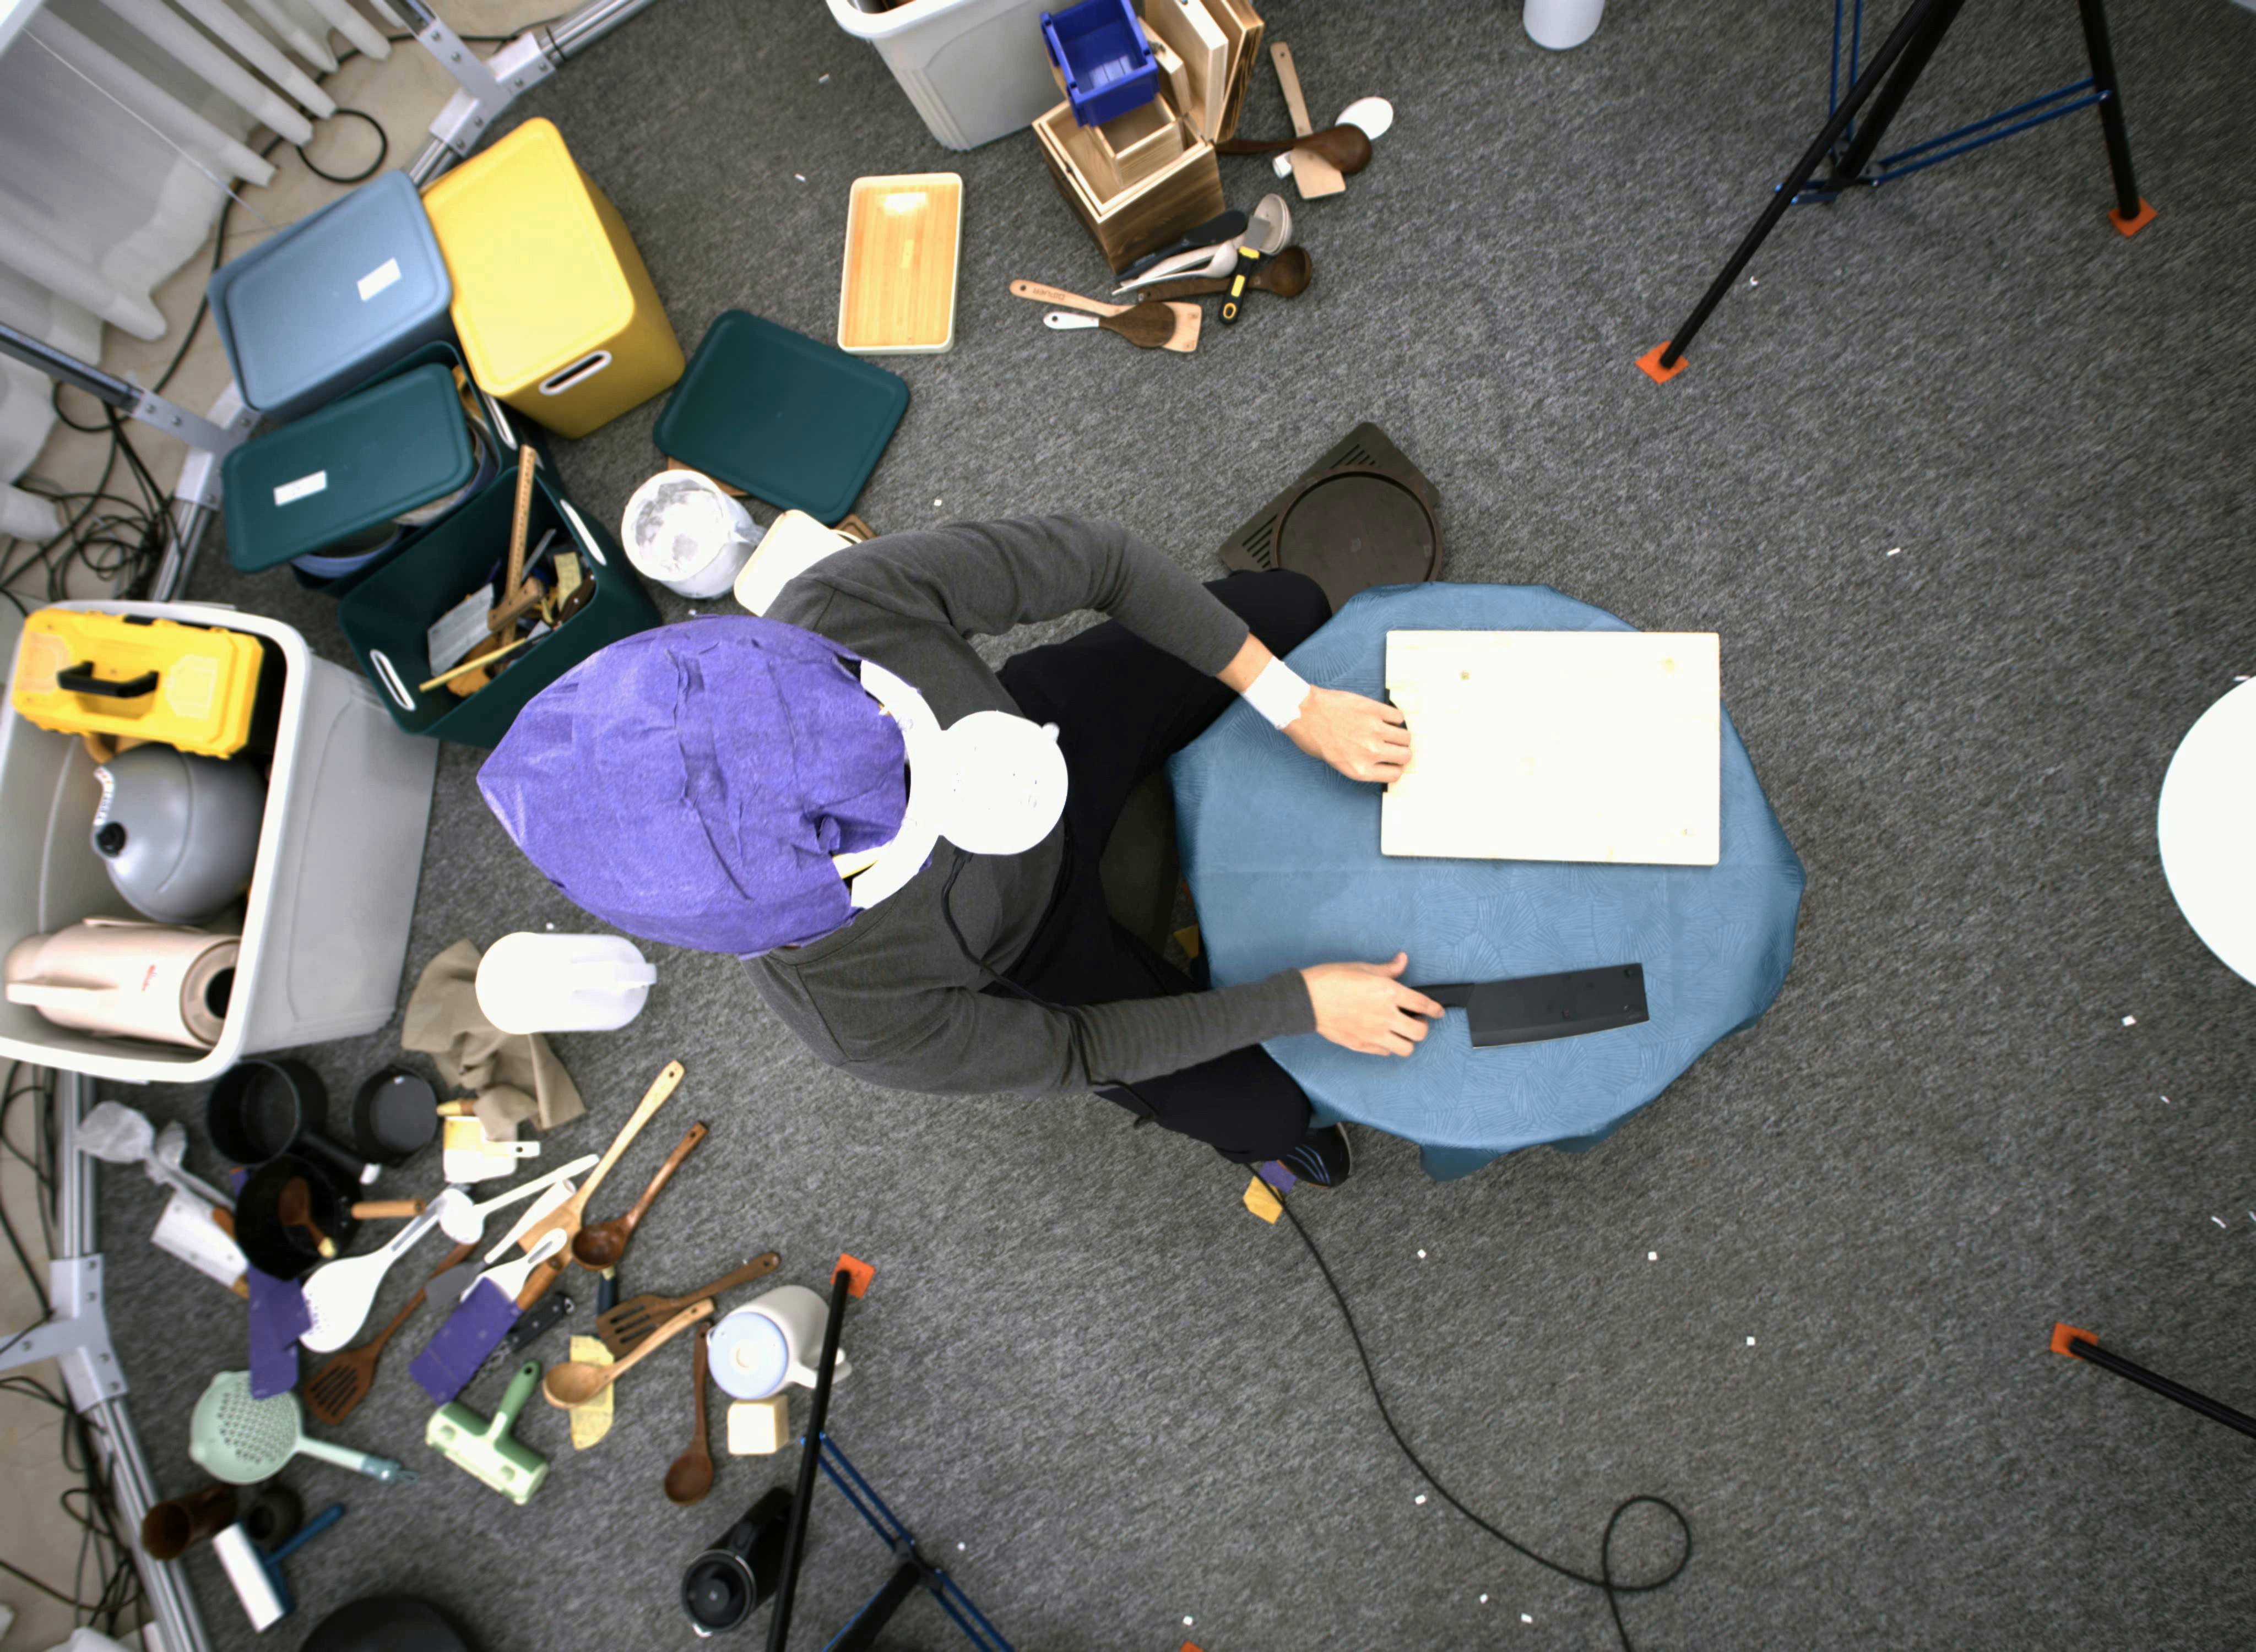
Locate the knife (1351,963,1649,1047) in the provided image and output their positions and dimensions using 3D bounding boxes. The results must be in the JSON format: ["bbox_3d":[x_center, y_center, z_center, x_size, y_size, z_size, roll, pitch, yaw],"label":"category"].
[{"bbox_3d":[0.383,0.186,1.426,0.303,0.021,0.080,-4,88,9],"label":"knife"}]

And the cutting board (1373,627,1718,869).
[{"bbox_3d":[0.433,-0.087,1.430,0.350,0.023,0.249,1,87,11],"label":"cutting board"}]
